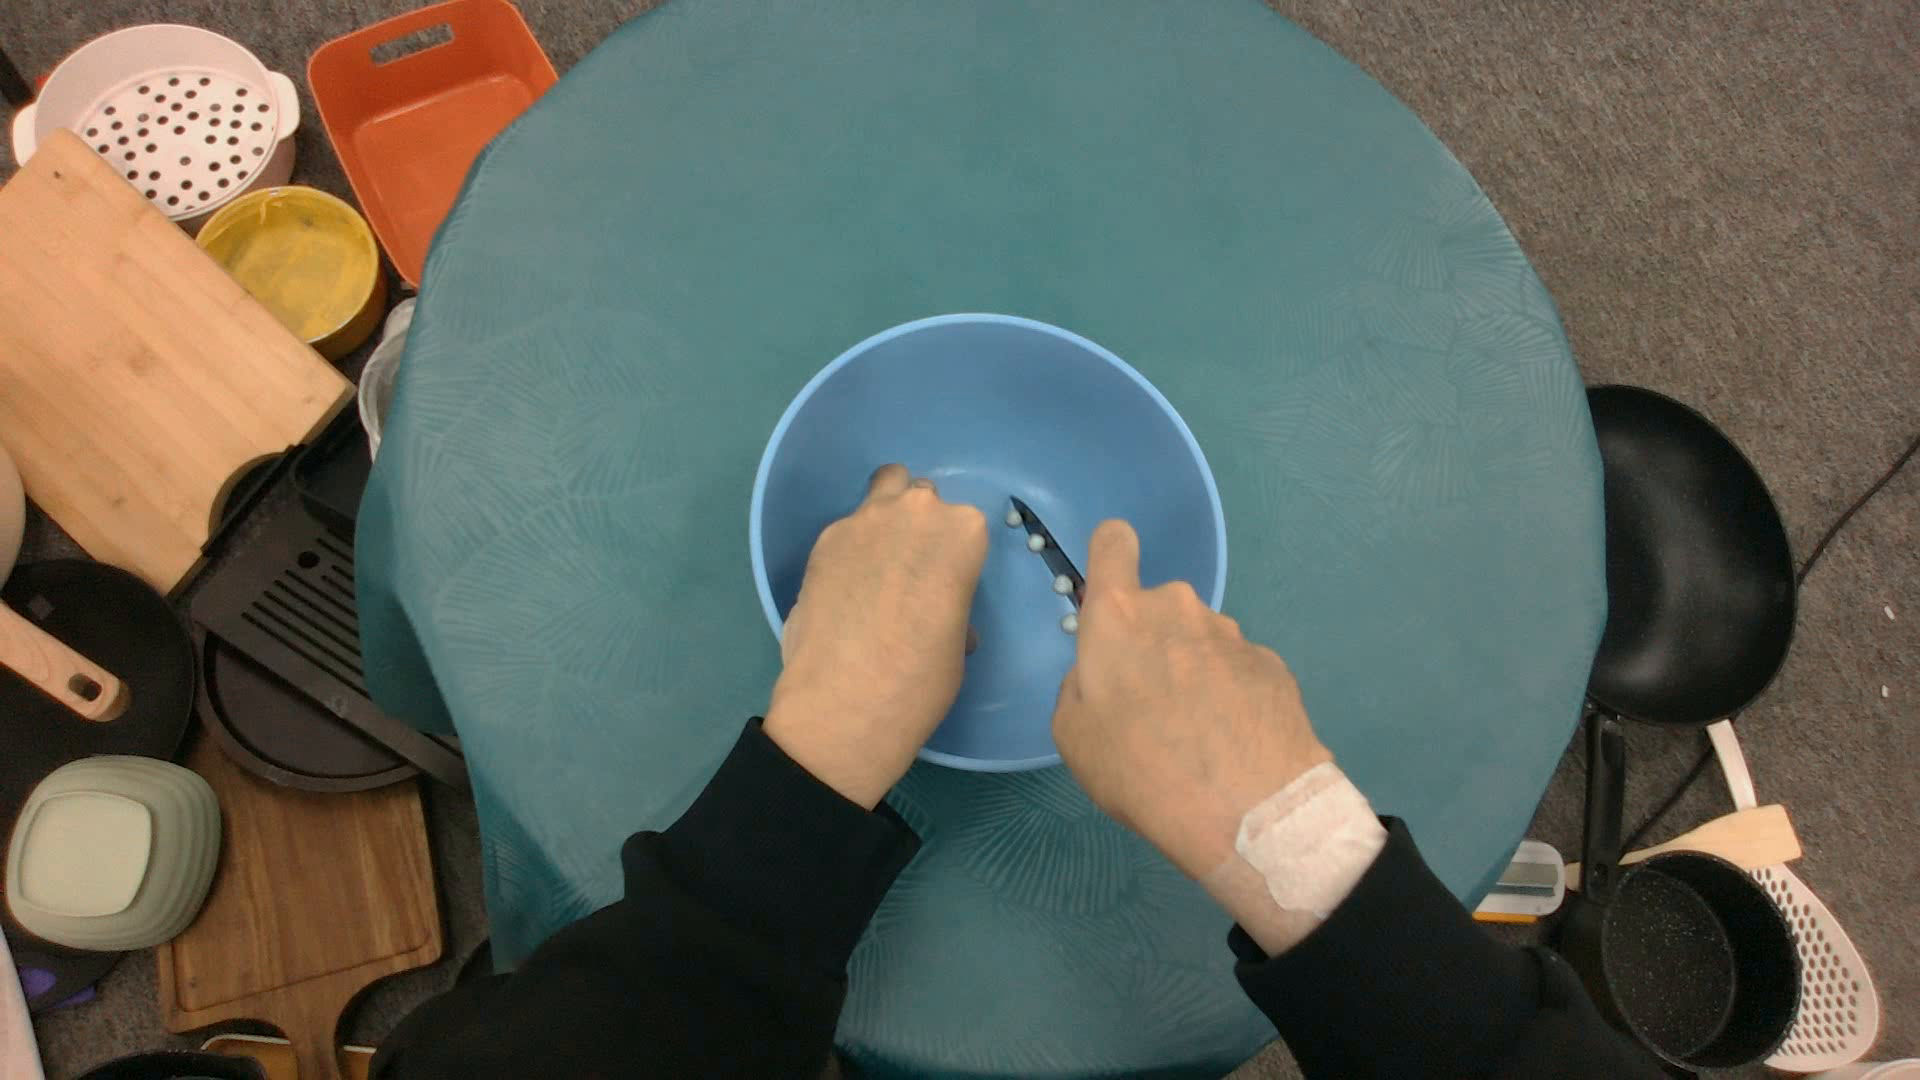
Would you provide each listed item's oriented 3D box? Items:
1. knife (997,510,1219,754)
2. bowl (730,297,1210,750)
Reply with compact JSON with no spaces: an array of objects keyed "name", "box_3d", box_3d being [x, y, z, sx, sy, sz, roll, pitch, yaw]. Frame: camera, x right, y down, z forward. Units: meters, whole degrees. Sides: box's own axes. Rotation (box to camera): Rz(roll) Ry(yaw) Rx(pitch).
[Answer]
[{"name":"knife","box_3d":[0.049,0.024,0.552,0.017,0.226,0.026,-20,117,-9]},{"name":"bowl","box_3d":[0.000,0.004,0.596,0.196,0.095,0.197,3,68,-8]}]
